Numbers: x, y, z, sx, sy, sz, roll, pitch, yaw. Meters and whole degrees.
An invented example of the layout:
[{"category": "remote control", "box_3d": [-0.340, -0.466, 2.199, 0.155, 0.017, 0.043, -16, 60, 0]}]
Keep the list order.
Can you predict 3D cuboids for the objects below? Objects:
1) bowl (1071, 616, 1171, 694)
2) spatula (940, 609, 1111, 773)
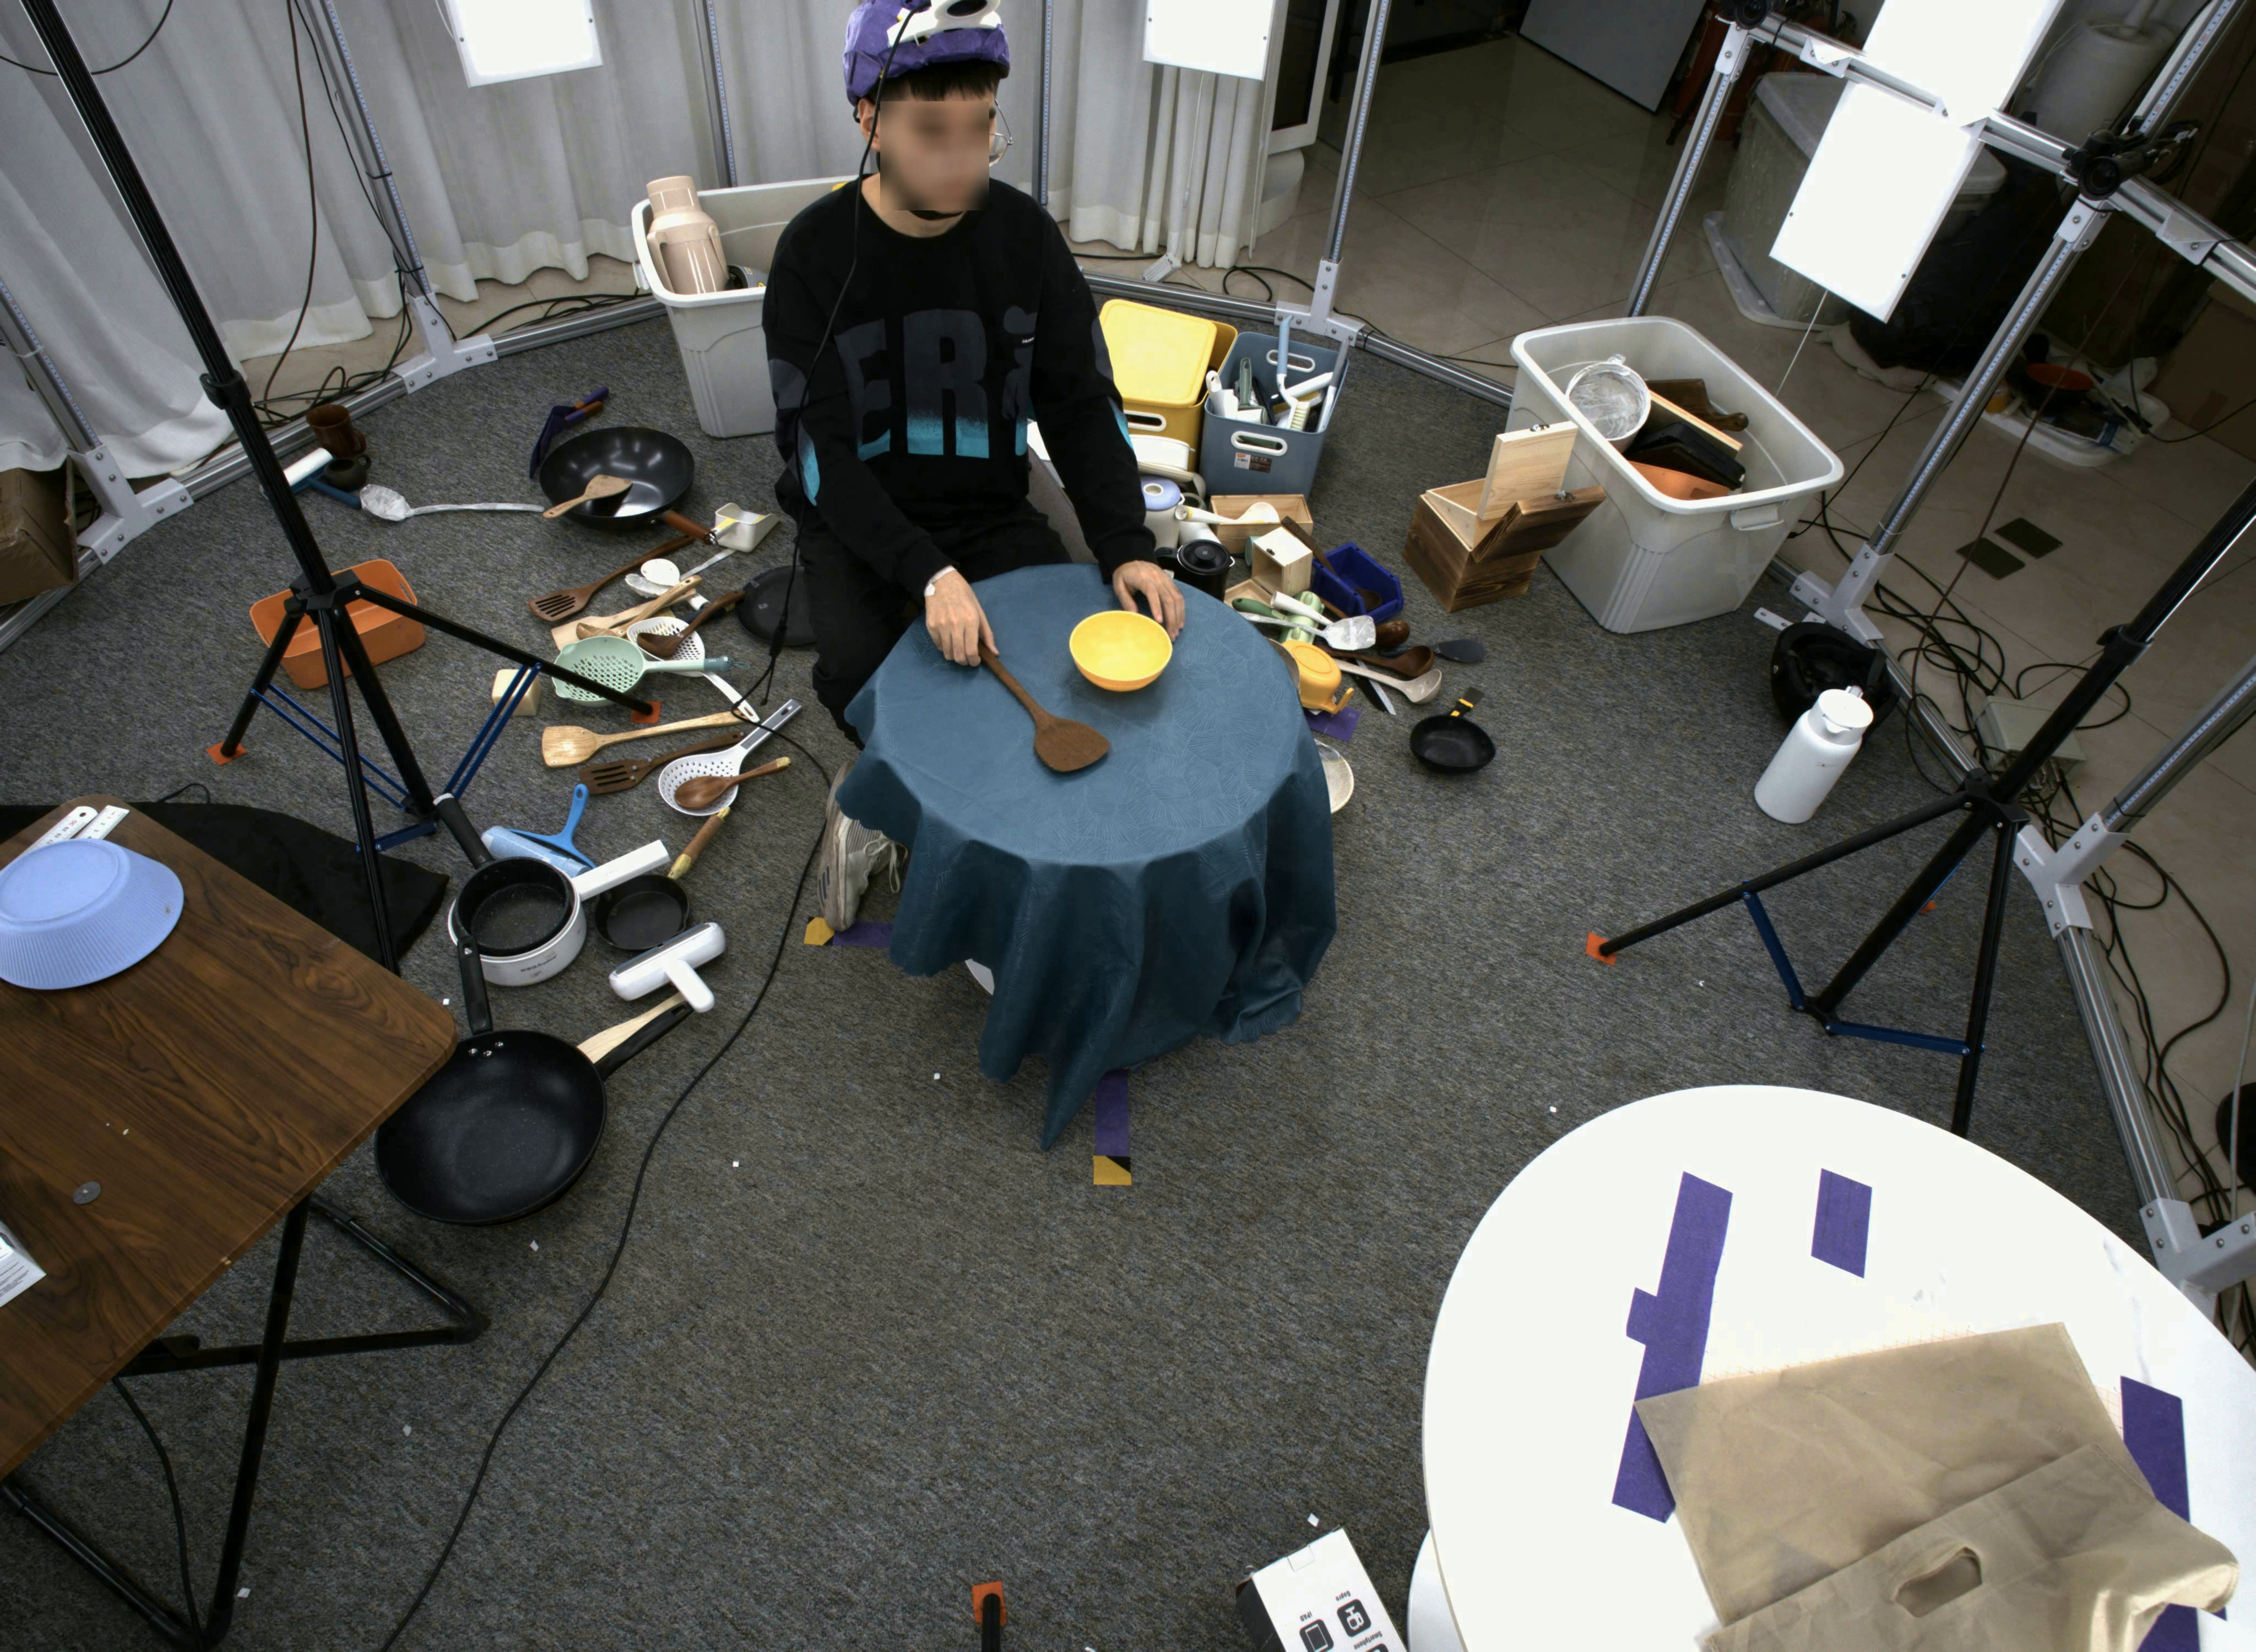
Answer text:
[{"category": "bowl", "box_3d": [-0.012, -0.235, 1.854, 0.145, 0.058, 0.149, 3, 47, -3]}, {"category": "spatula", "box_3d": [-0.165, -0.204, 1.841, 0.096, 0.015, 0.393, -26, 56, -25]}]
